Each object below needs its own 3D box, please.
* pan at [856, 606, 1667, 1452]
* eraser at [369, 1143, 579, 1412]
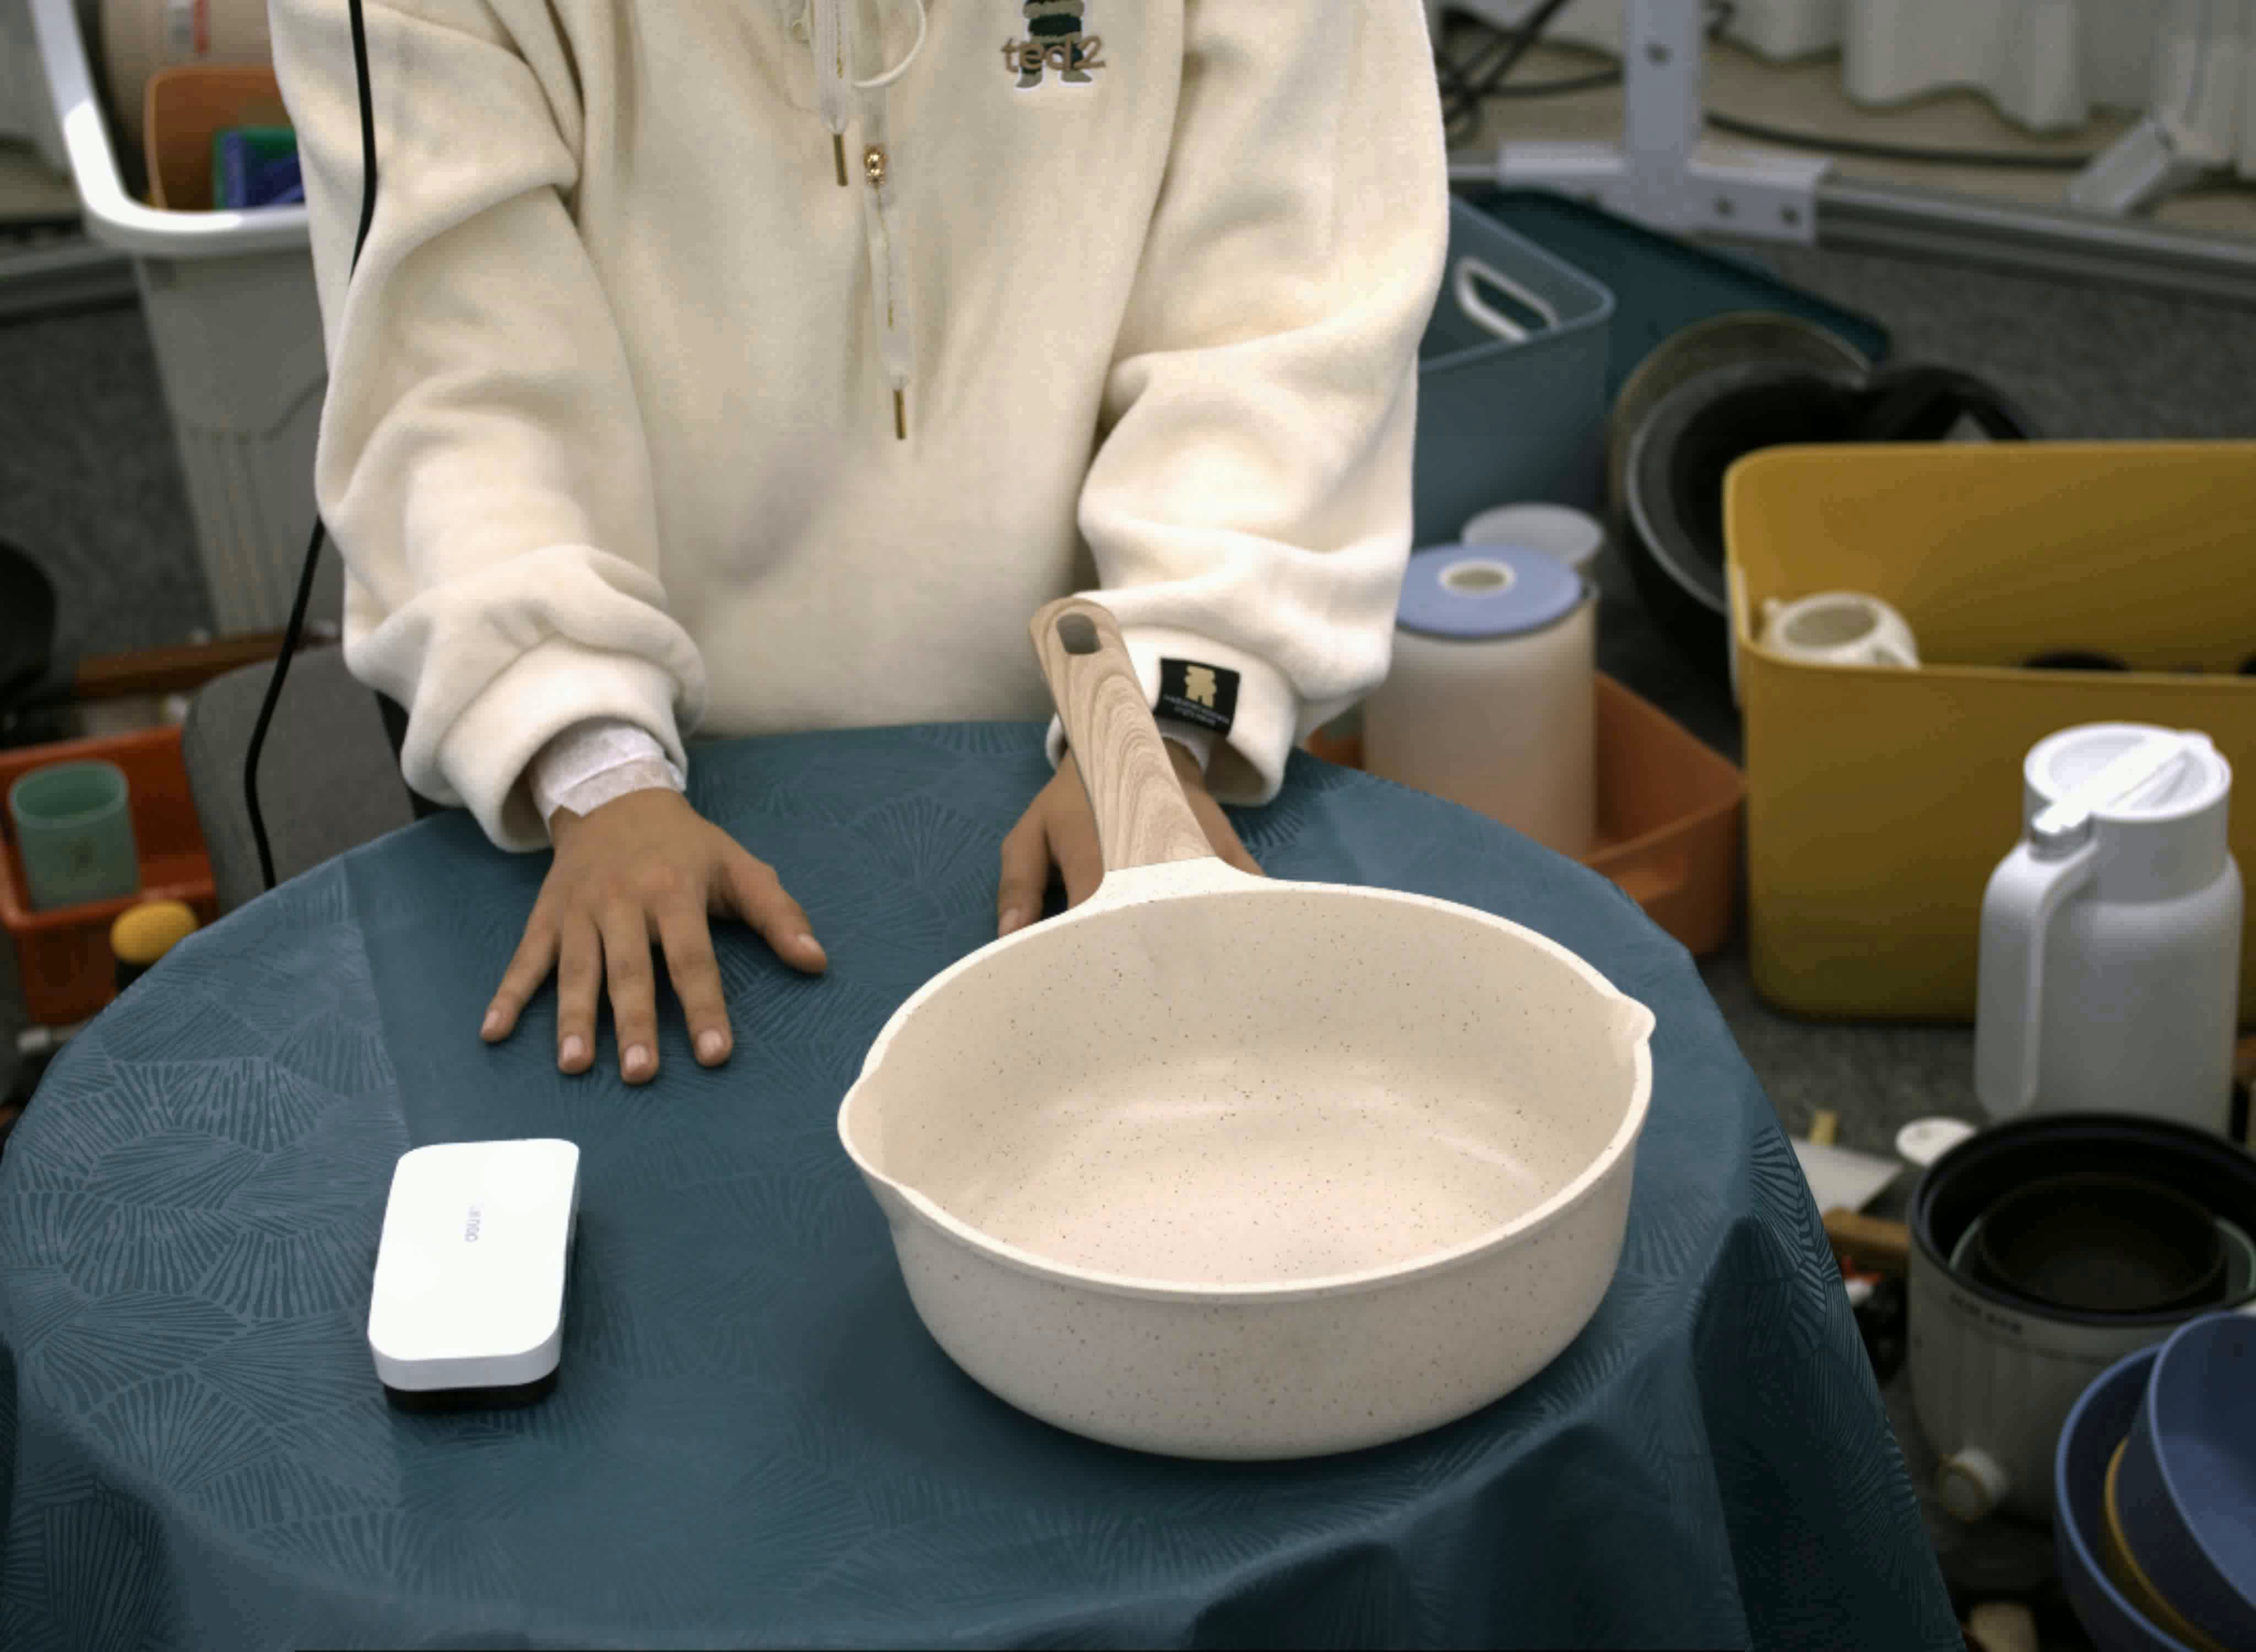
[{"bbox_3d":[0.026,0.062,1.863,0.263,0.101,0.440,-9,28,-9],"label":"pan"},{"bbox_3d":[-0.209,0.142,1.810,0.063,0.034,0.133,-1,27,-1],"label":"eraser"}]
